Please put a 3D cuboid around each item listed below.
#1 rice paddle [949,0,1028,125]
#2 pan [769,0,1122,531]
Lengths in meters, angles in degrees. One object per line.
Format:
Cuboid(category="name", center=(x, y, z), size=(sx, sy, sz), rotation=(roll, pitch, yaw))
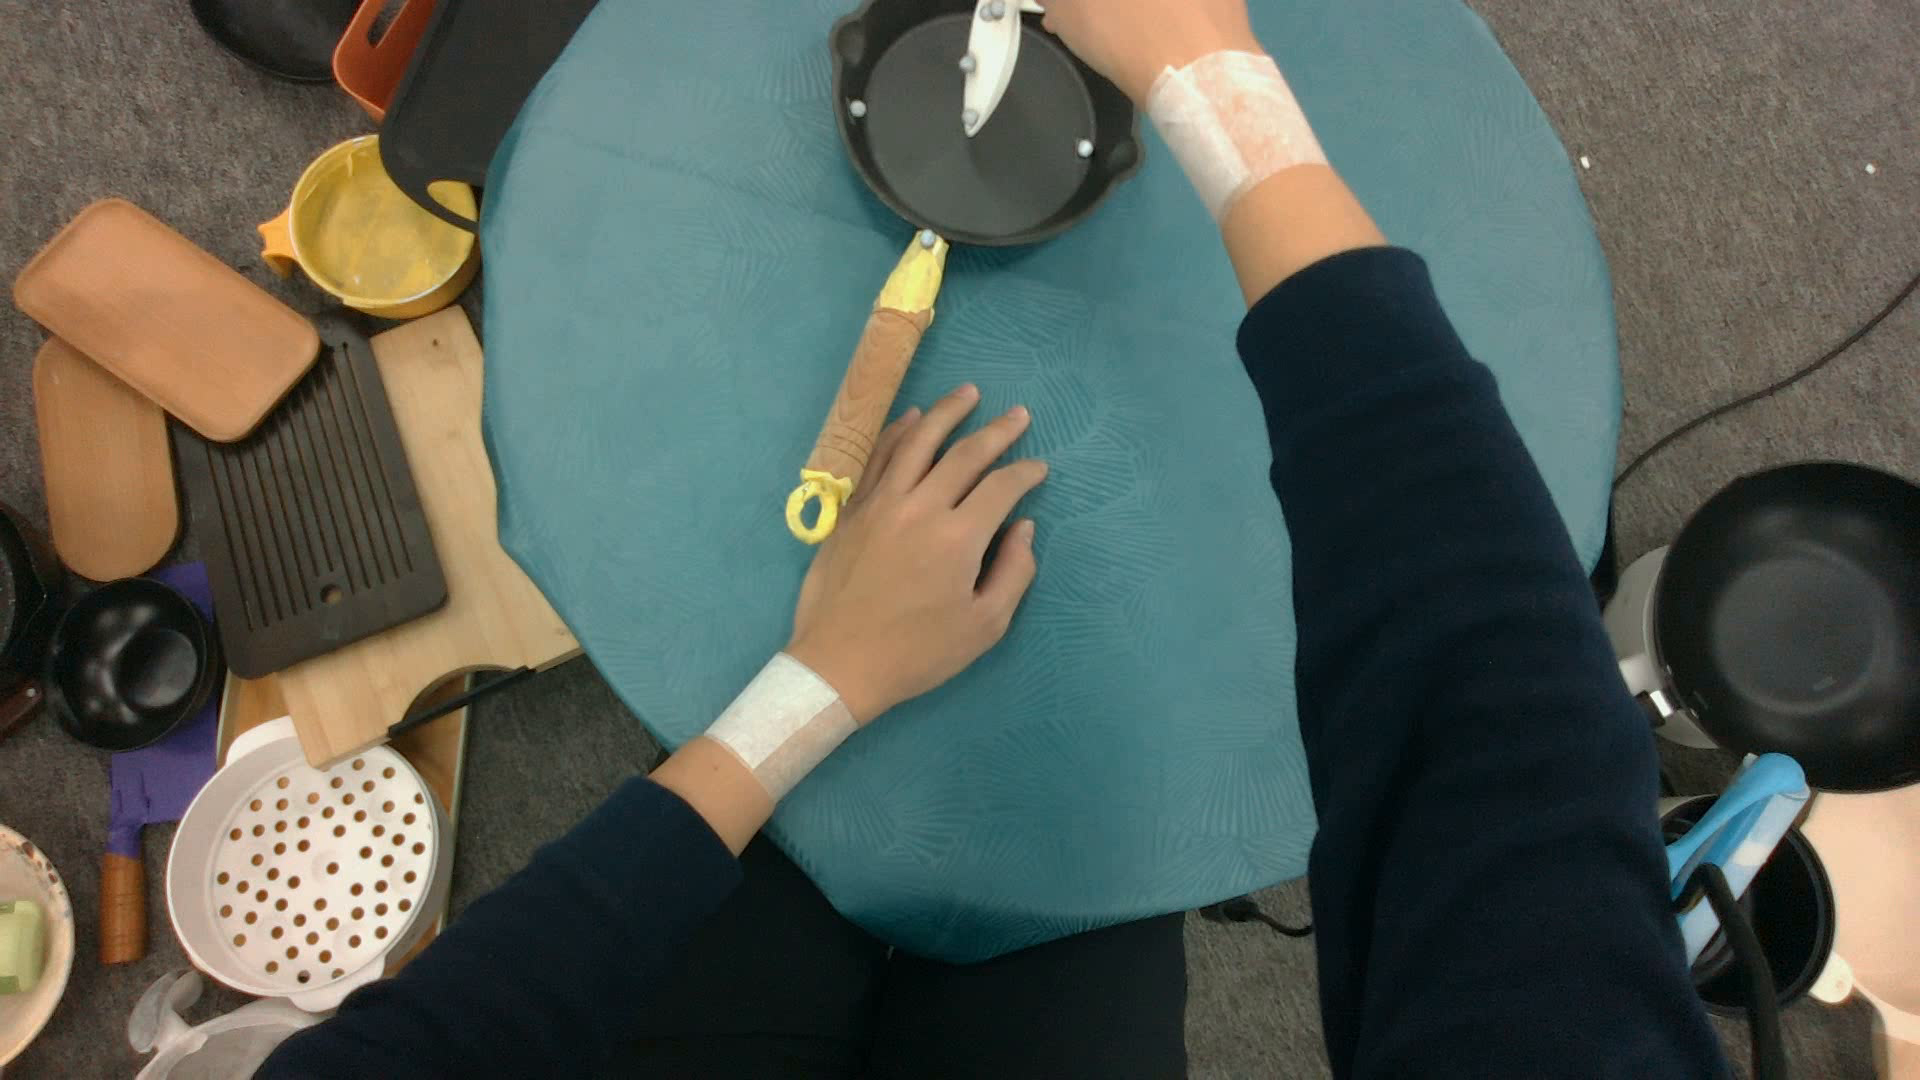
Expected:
Cuboid(category="rice paddle", center=(0.017, -0.249, 0.625), size=(0.029, 0.205, 0.069), rotation=(5, 82, -13))
Cuboid(category="pan", center=(-0.028, -0.151, 0.683), size=(0.169, 0.049, 0.325), rotation=(23, 76, -4))
